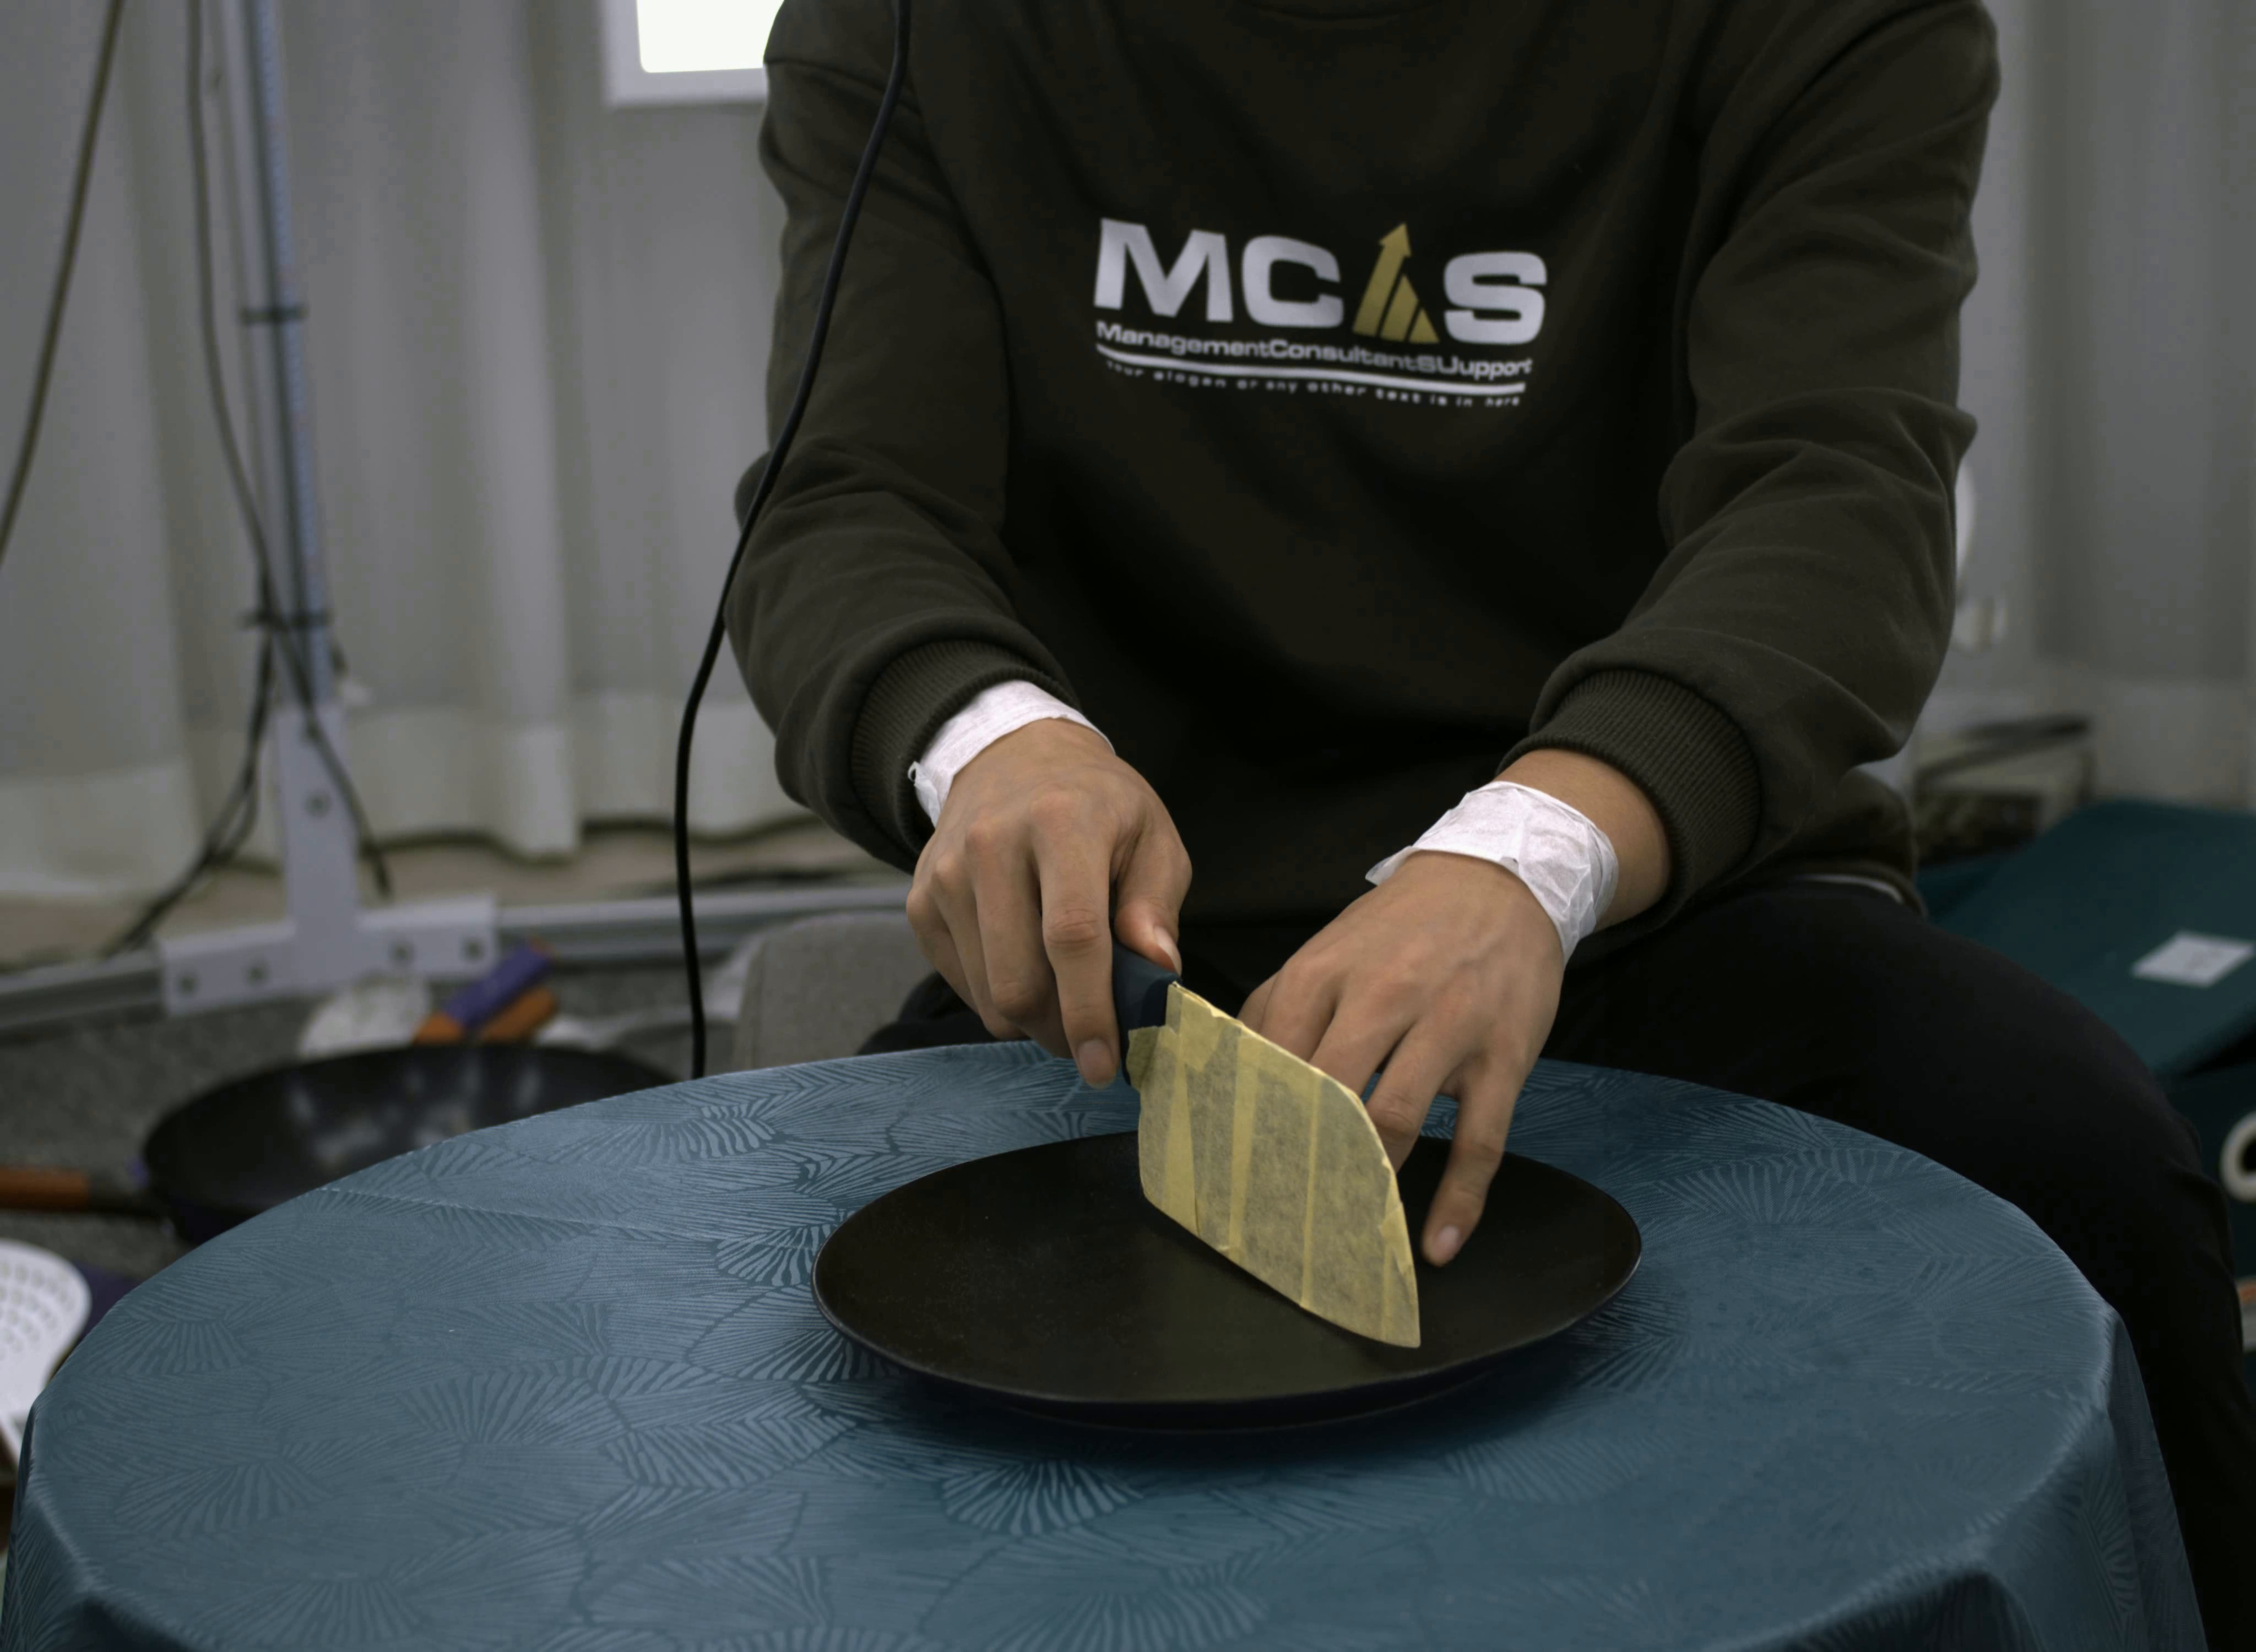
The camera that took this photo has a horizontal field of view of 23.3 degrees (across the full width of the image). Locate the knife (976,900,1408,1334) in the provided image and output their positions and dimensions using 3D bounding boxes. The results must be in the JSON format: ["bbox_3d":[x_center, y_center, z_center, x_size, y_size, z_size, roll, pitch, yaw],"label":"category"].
[{"bbox_3d":[0.018,0.082,1.639,0.027,0.081,0.292,-1,17,-25],"label":"knife"}]

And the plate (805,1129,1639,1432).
[{"bbox_3d":[0.027,0.134,1.594,0.243,0.023,0.246,-3,15,0],"label":"plate"}]
